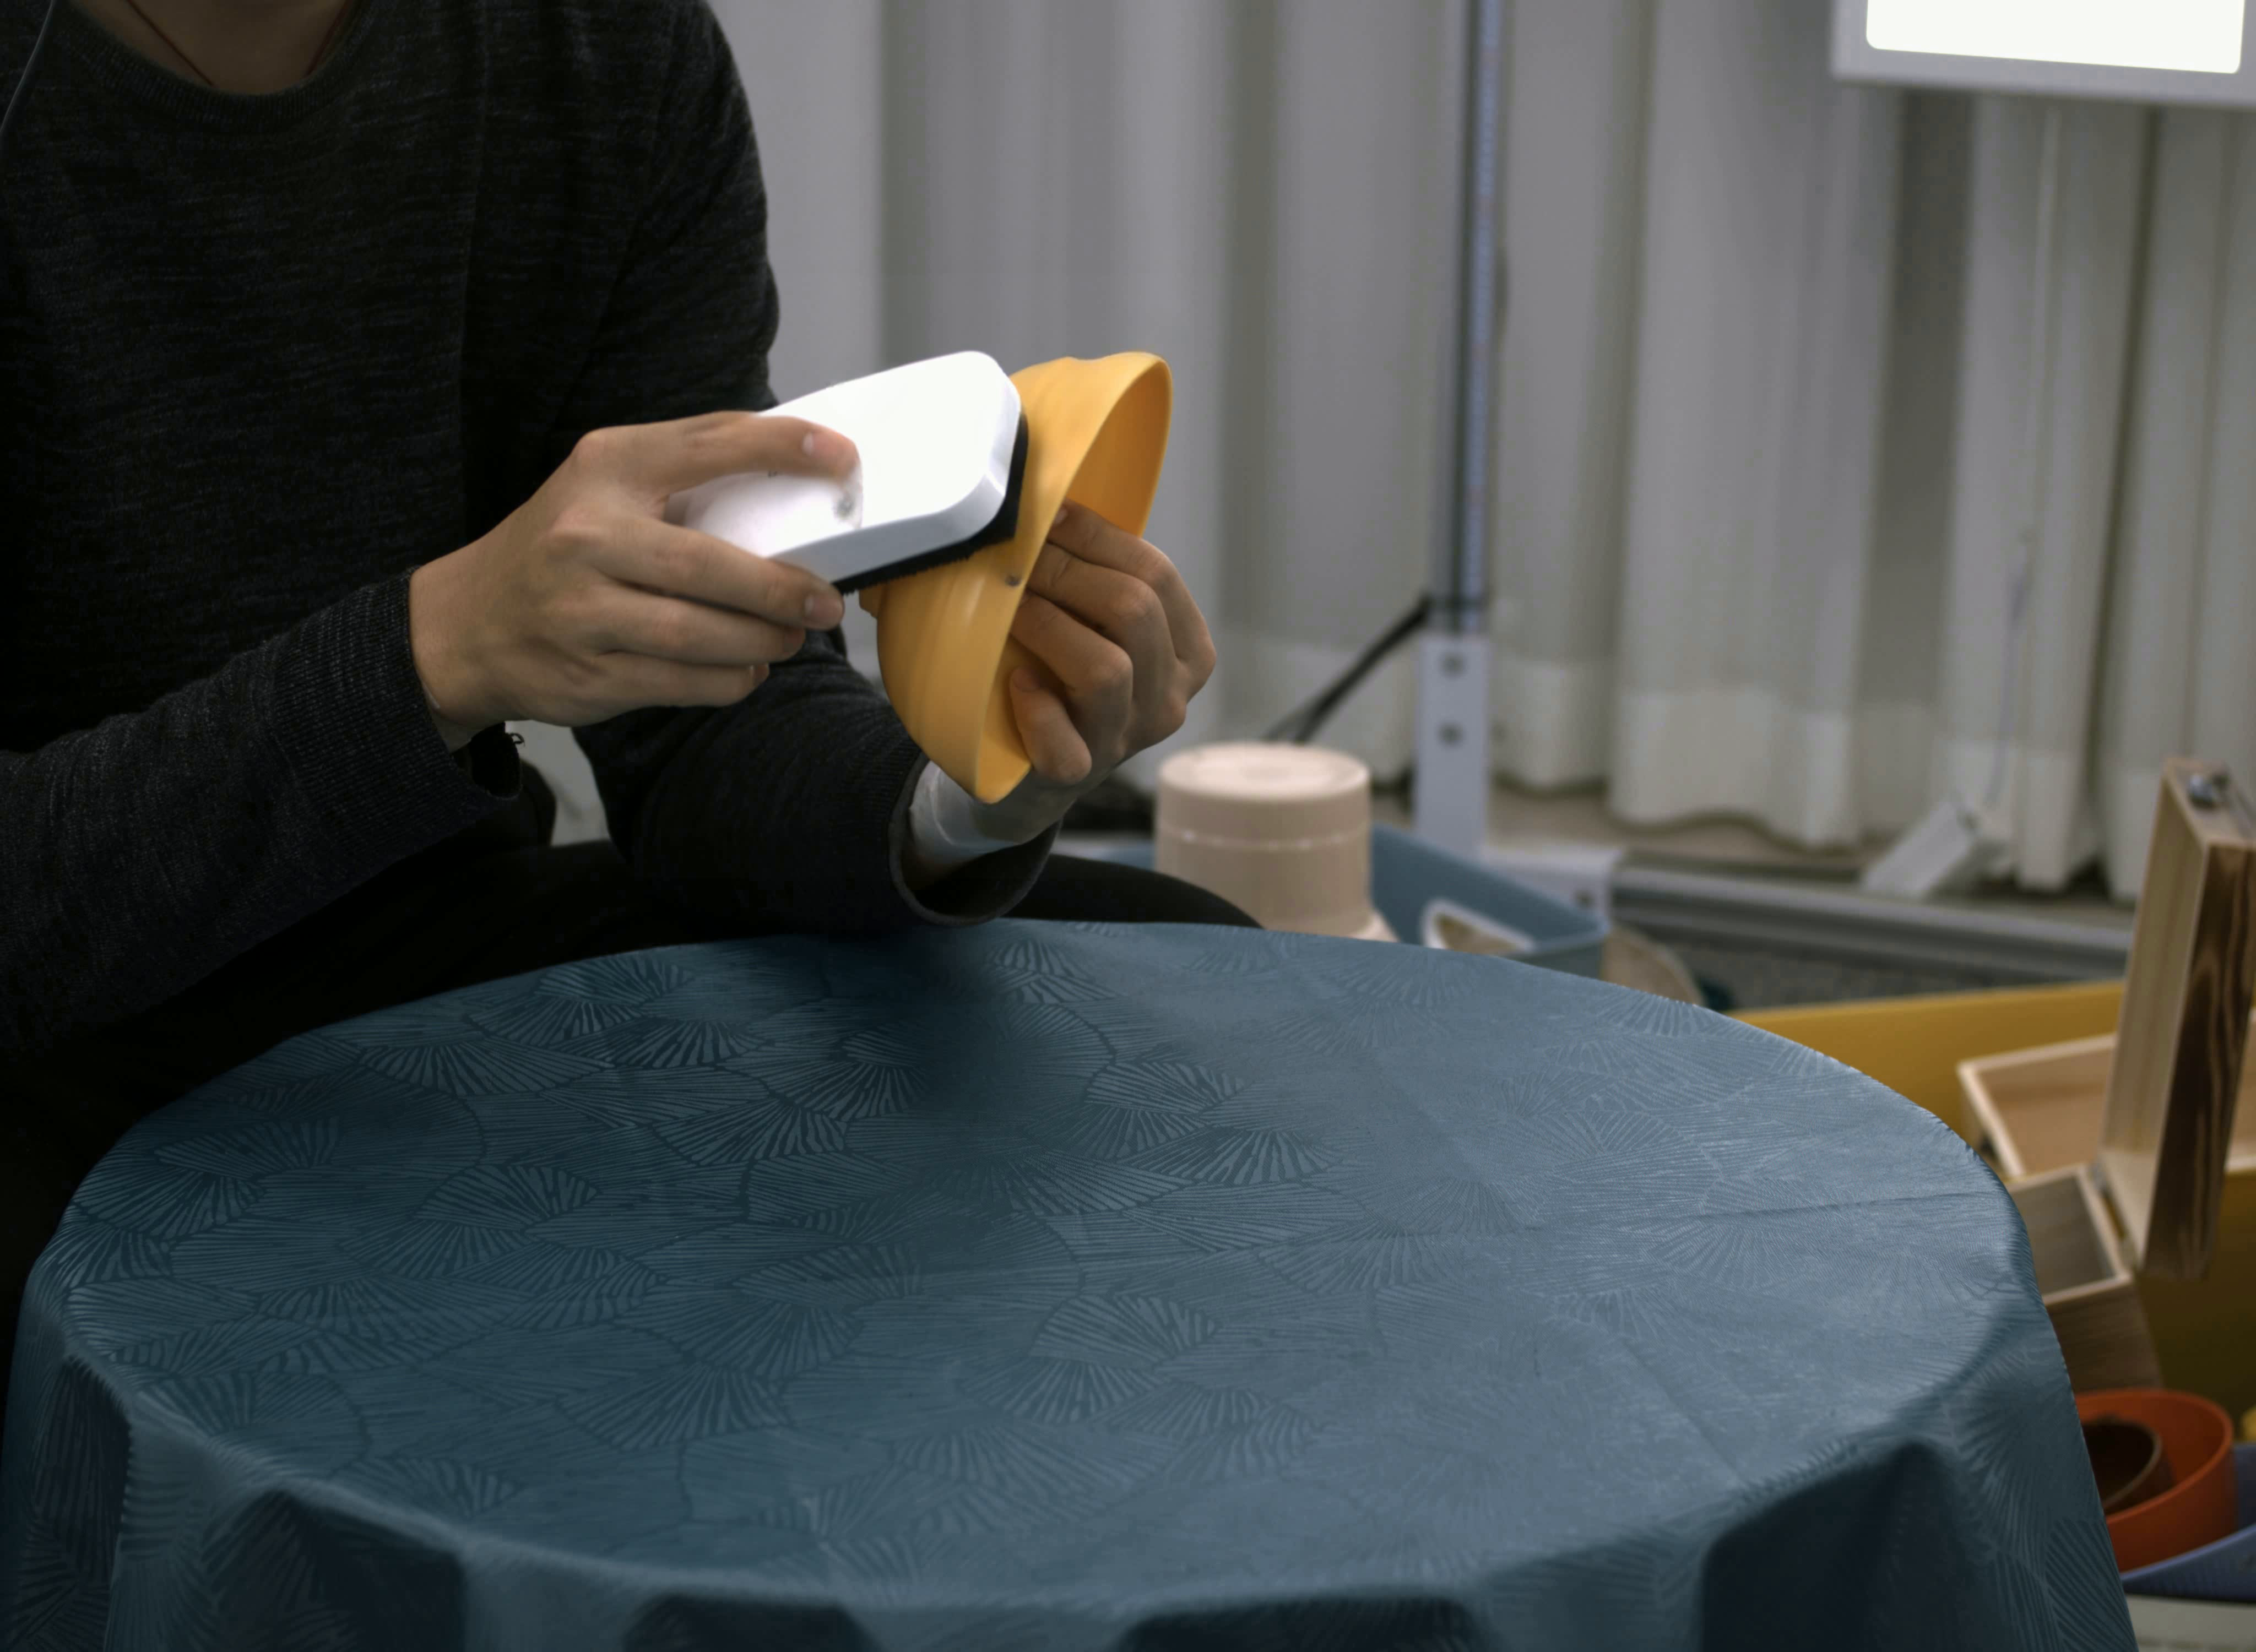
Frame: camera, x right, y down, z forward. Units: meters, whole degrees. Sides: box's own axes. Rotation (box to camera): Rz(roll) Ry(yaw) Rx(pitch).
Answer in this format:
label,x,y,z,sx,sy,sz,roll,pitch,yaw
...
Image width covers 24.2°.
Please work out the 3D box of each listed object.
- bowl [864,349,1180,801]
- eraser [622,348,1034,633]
label,x,y,z,sx,sy,sz,roll,pitch,yaw
bowl,-0.040,-0.085,1.592,0.060,0.146,0.145,22,20,10
eraser,-0.089,-0.100,1.545,0.130,0.035,0.063,-15,47,30
